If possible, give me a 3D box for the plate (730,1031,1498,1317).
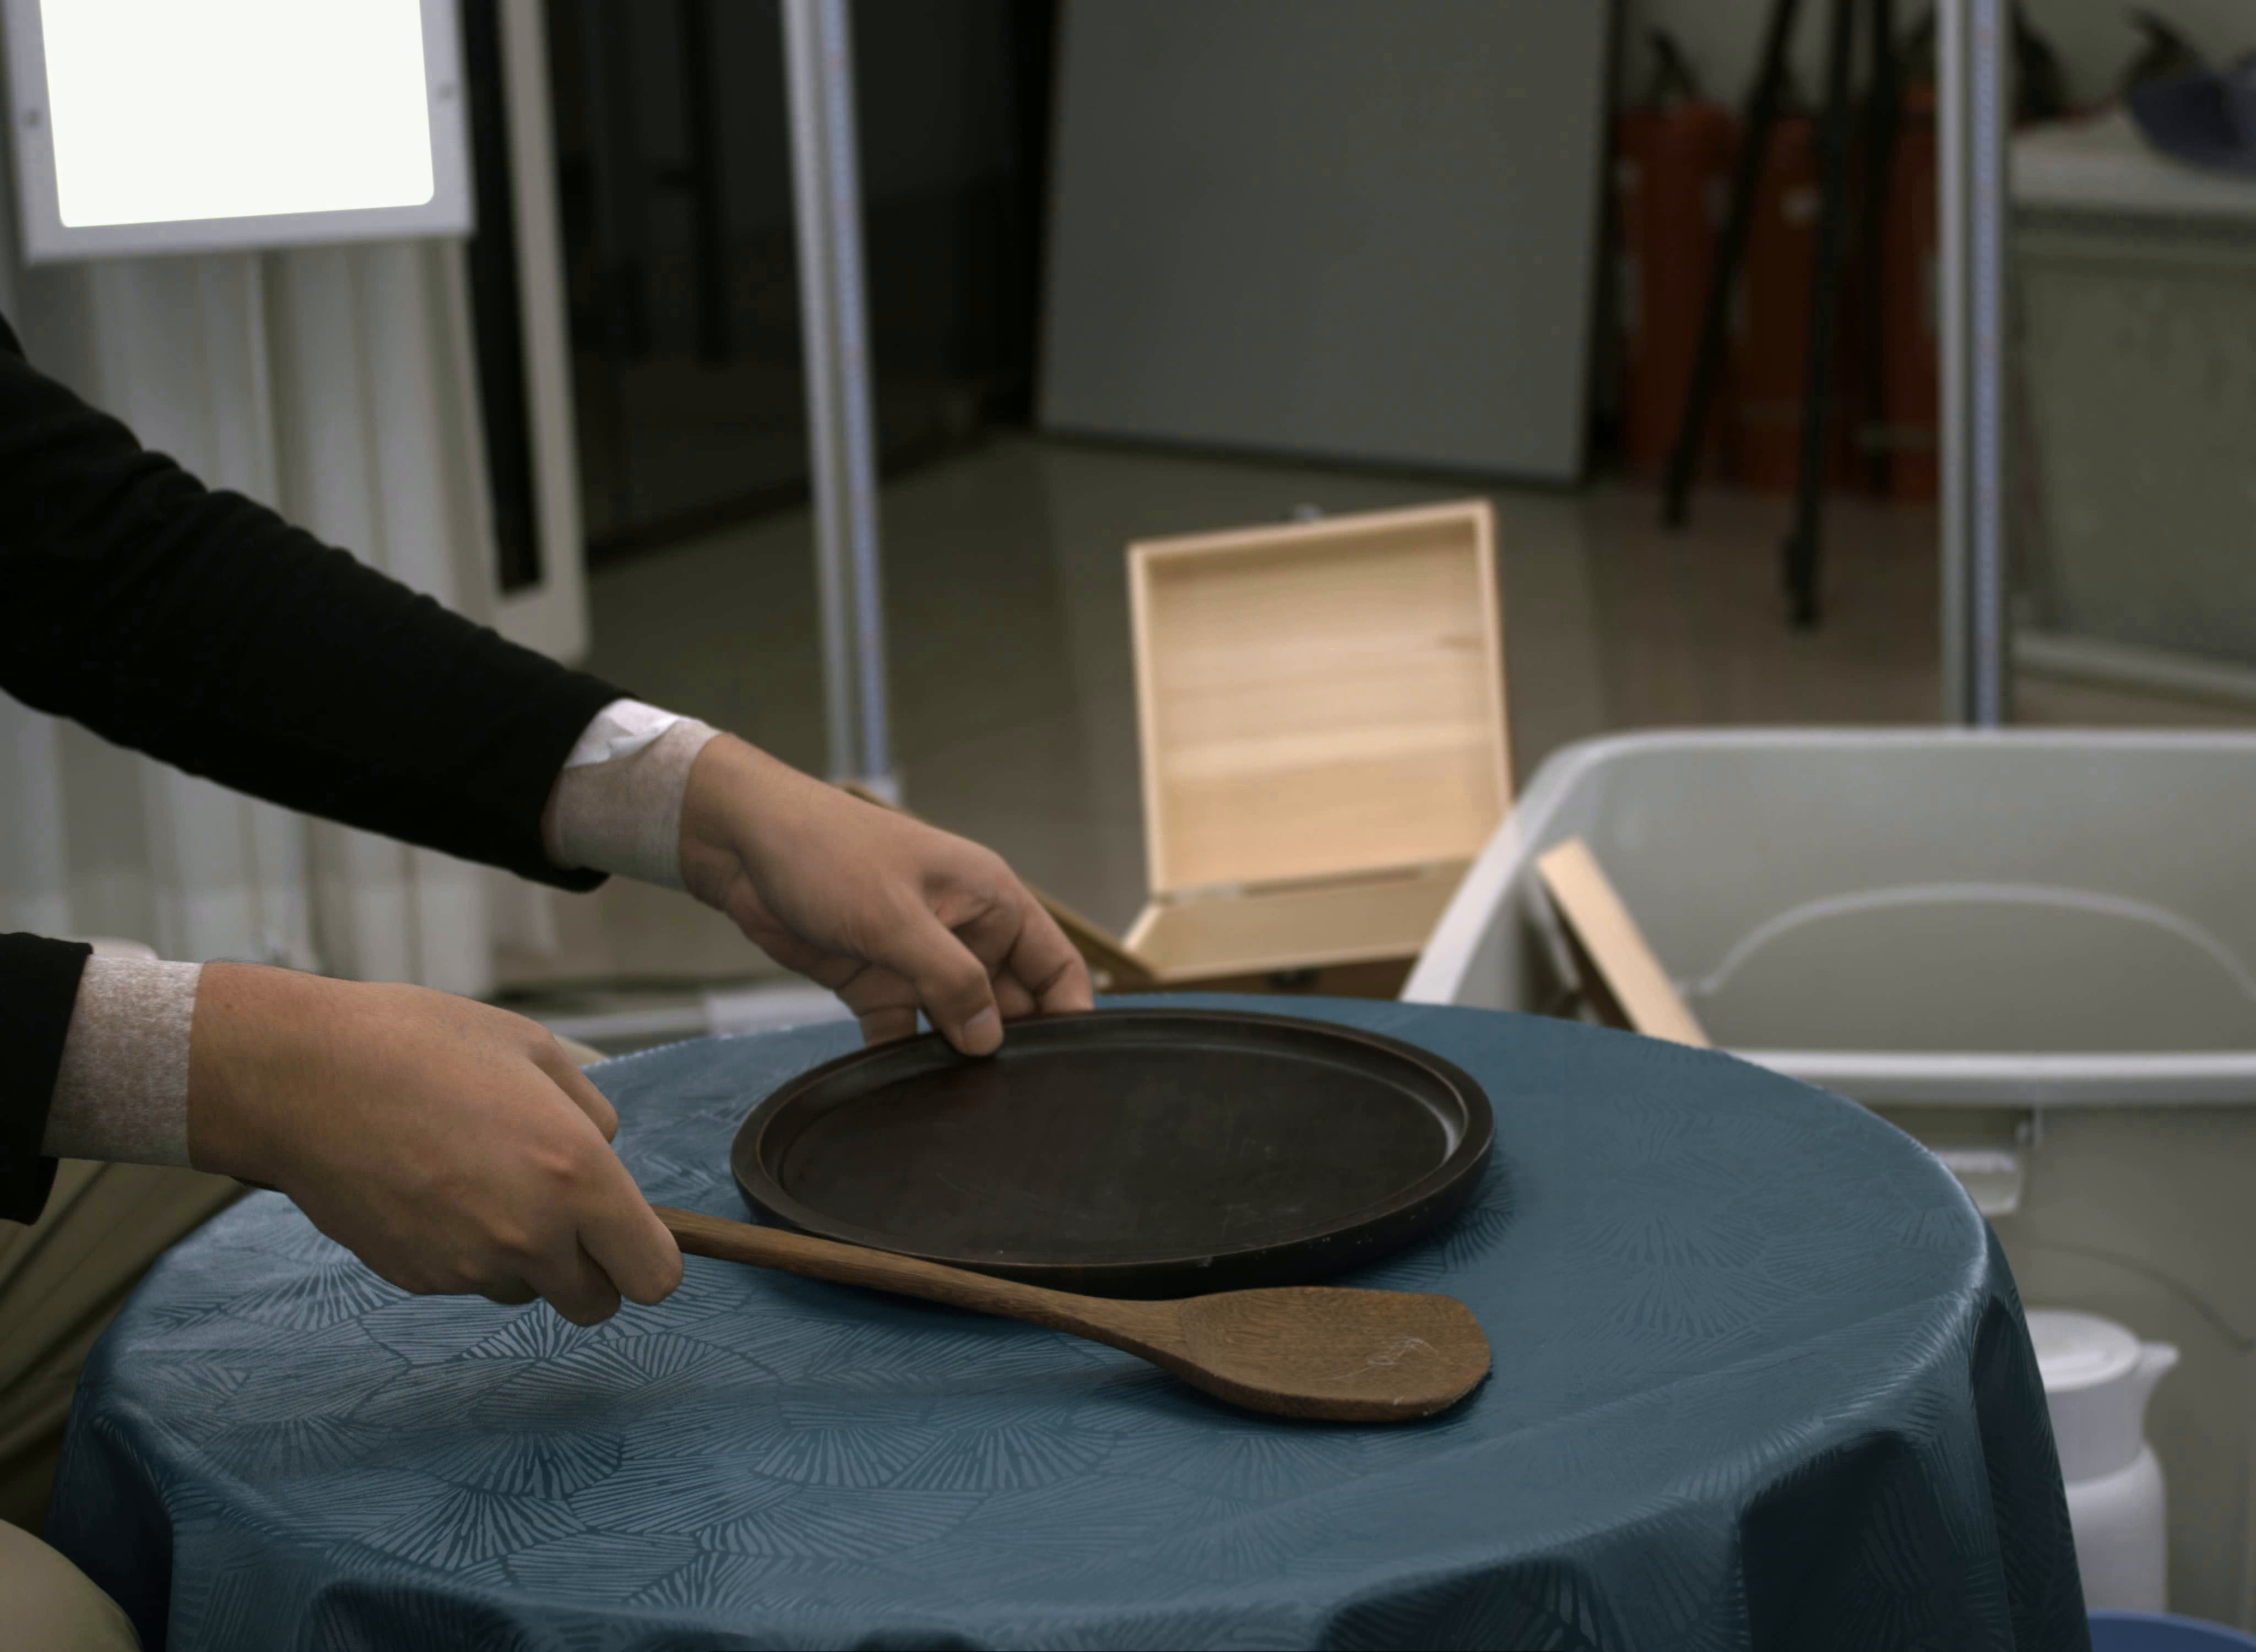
[{"bbox_3d":[-0.004,0.110,1.757,0.251,0.029,0.255,-2,16,0],"label":"plate"}]

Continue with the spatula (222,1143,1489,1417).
[{"bbox_3d":[-0.081,0.130,1.598,0.382,0.016,0.096,10,15,6],"label":"spatula"}]
